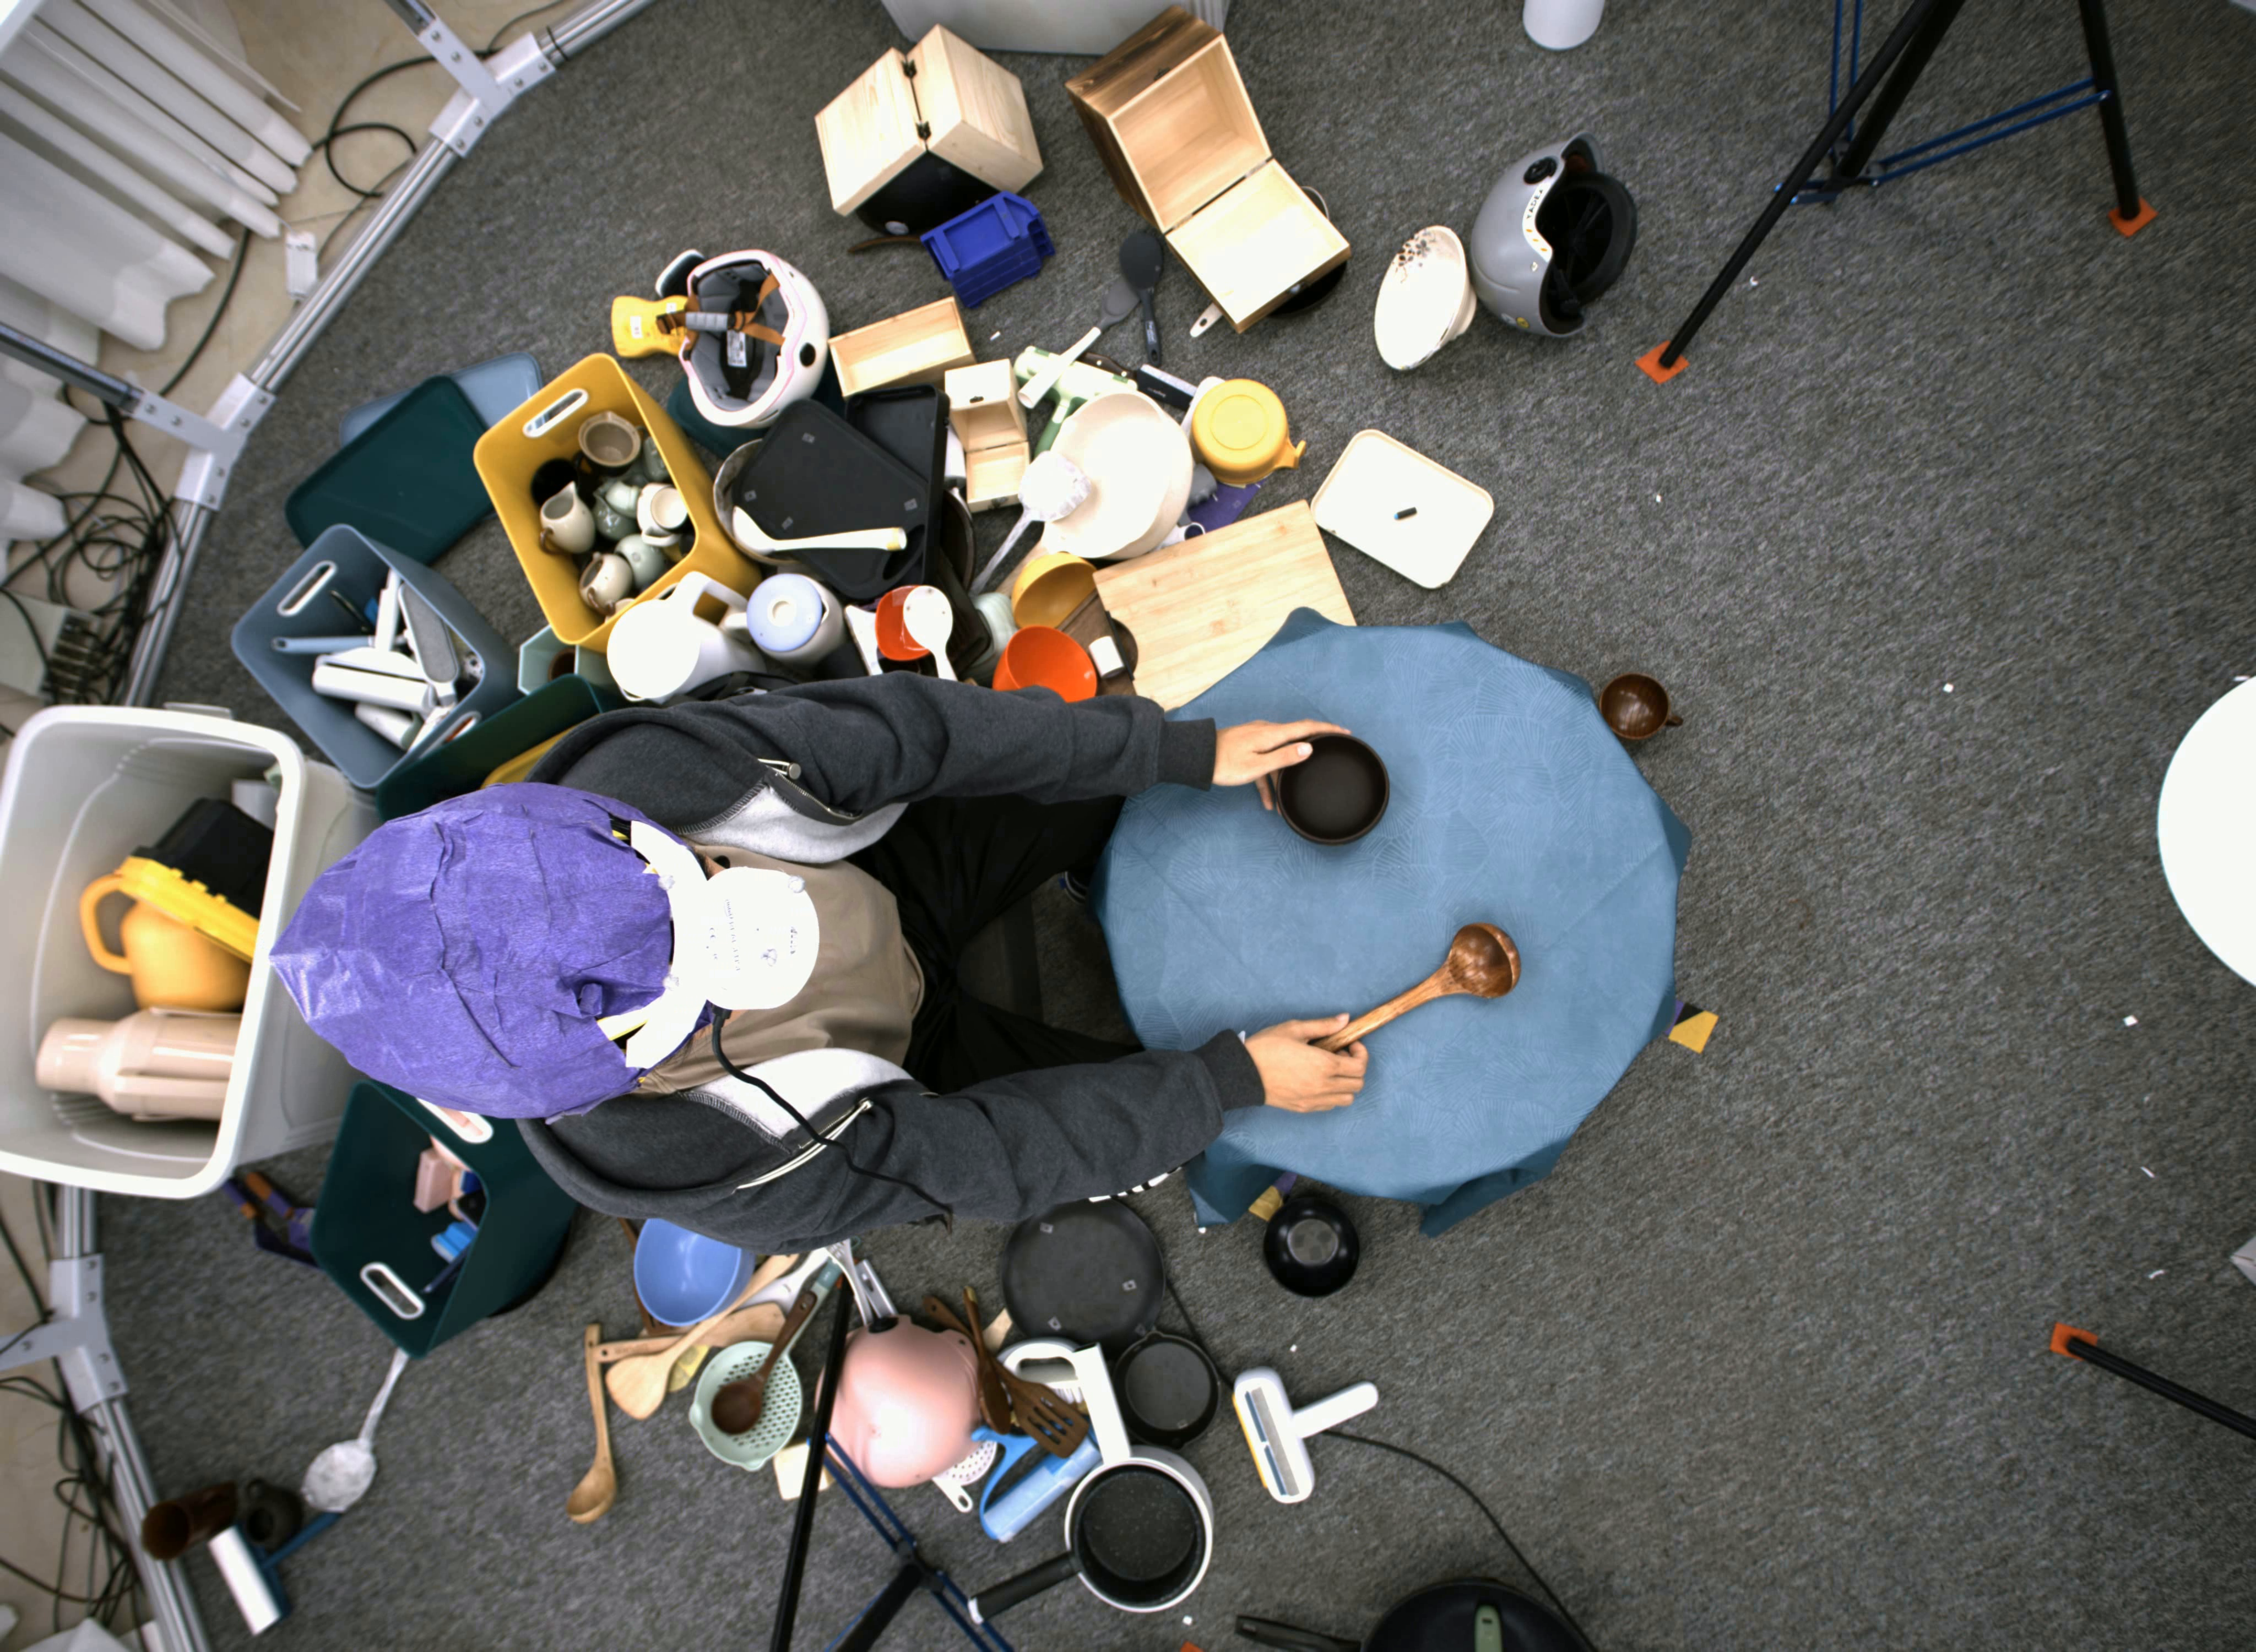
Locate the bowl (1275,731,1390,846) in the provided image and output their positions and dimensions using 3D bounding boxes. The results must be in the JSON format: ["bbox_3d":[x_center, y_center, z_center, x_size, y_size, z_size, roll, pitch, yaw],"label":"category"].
[{"bbox_3d":[0.213,-0.038,1.438,0.118,0.070,0.117,-1,86,10],"label":"bowl"}]

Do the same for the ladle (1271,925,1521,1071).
[{"bbox_3d":[0.271,0.186,1.413,0.275,0.077,0.081,-27,78,8],"label":"ladle"}]
